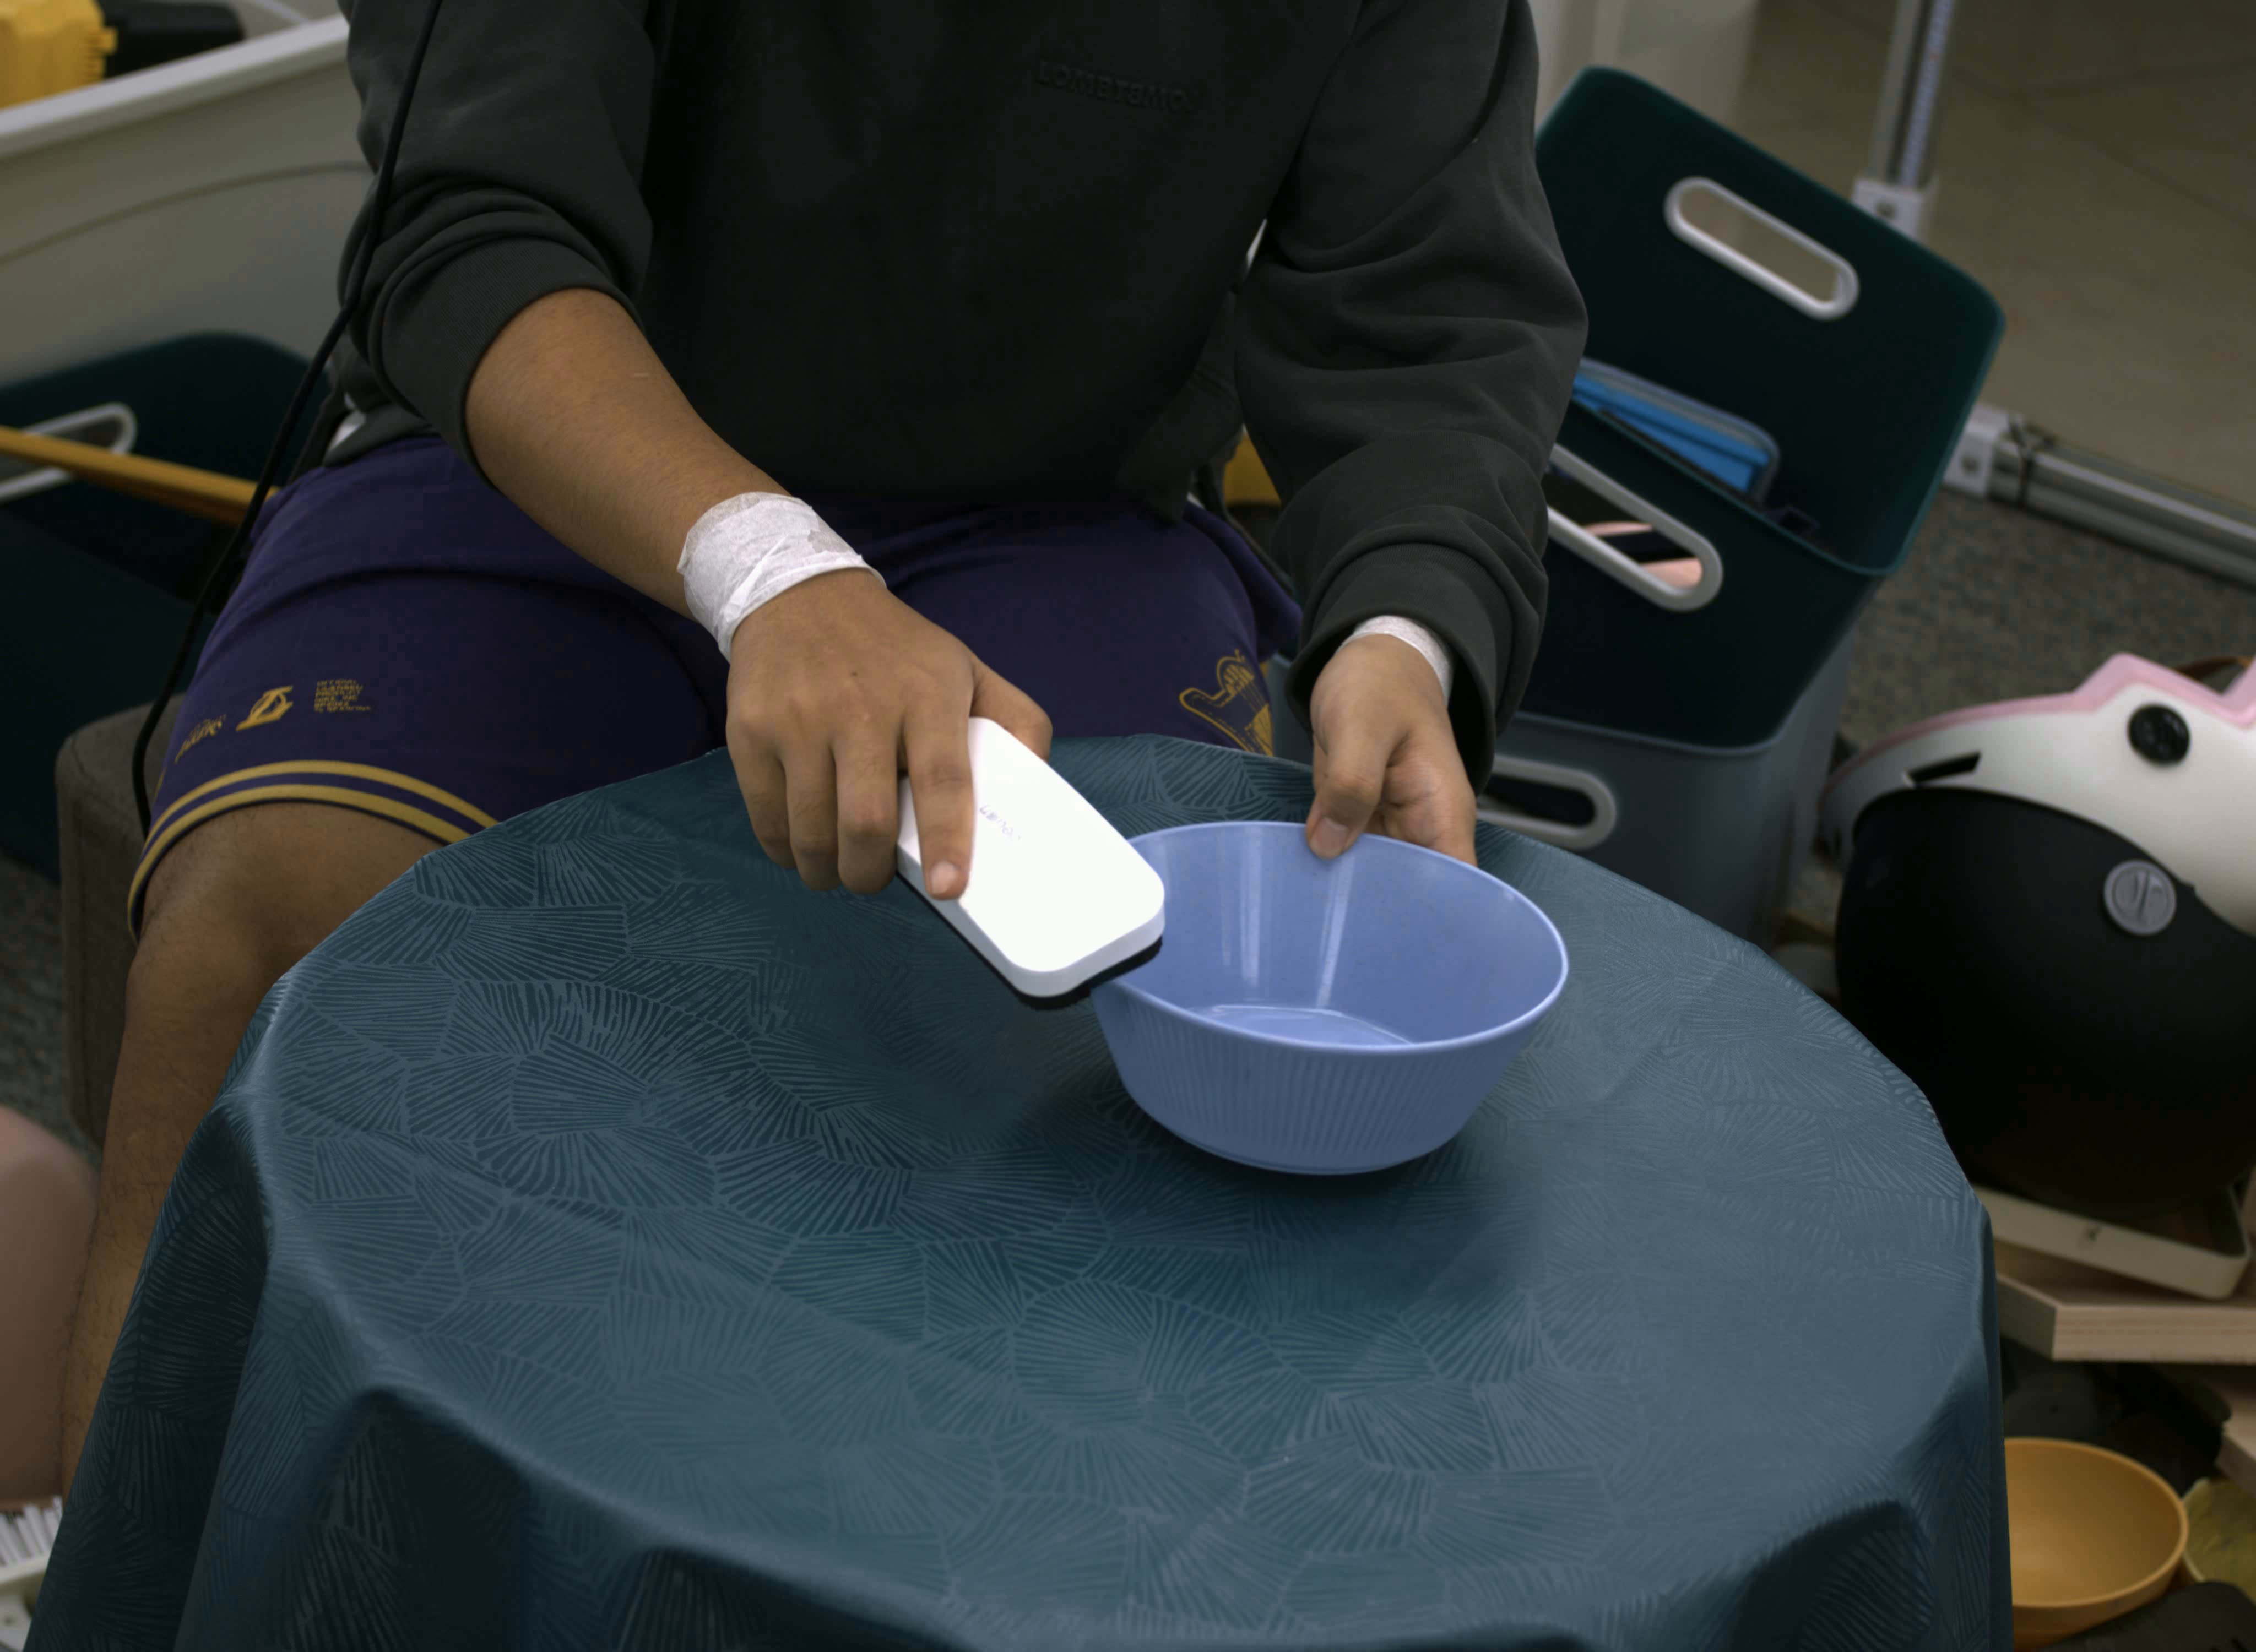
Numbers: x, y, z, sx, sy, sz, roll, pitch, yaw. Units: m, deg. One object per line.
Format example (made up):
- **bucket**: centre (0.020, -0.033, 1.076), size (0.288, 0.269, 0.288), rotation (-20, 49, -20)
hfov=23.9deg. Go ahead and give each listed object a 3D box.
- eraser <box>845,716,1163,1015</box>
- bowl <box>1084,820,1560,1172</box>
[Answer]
- **eraser**: centre (-0.041, 0.010, 1.803), size (0.063, 0.034, 0.132), rotation (-26, 45, -19)
- **bowl**: centre (0.057, 0.064, 1.837), size (0.175, 0.070, 0.177), rotation (7, 25, -3)
